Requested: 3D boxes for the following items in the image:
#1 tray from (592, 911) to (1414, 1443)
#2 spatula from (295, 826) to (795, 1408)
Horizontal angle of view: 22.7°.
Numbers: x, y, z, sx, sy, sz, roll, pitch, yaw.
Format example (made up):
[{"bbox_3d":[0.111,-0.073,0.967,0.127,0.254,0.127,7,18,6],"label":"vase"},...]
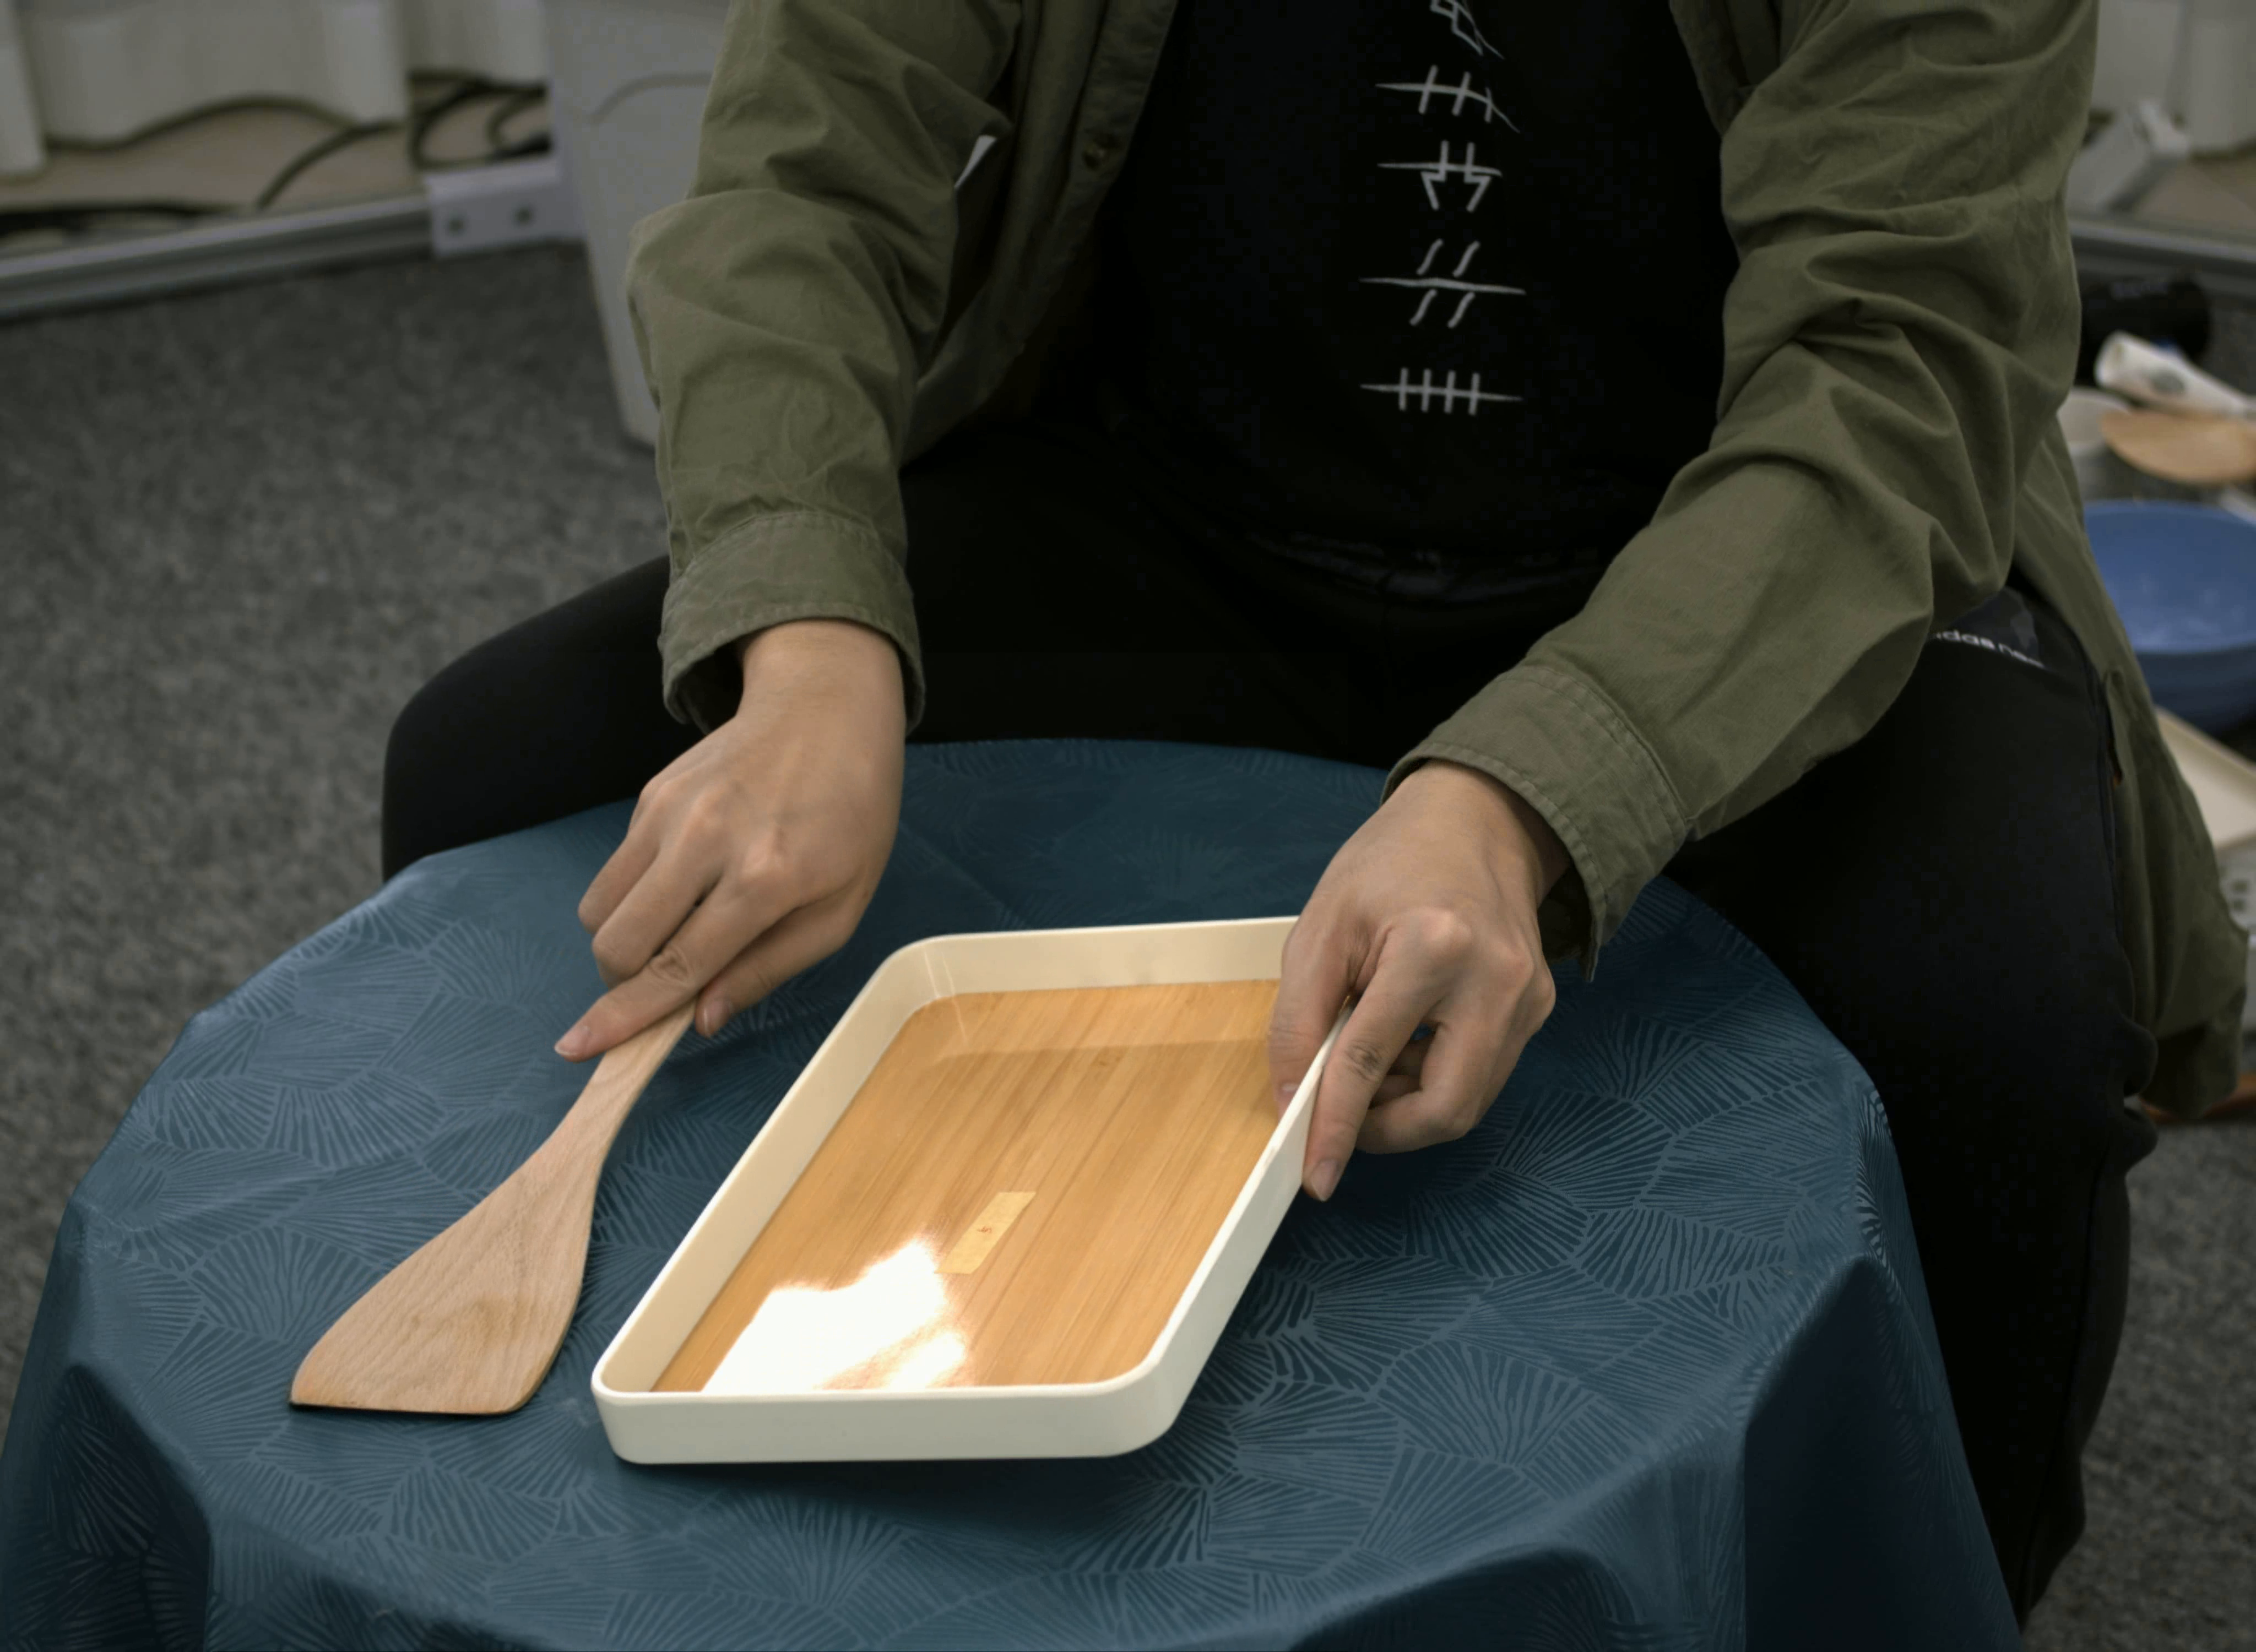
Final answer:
[{"bbox_3d":[-0.034,0.110,1.818,0.190,0.027,0.305,-3,25,22],"label":"tray"},{"bbox_3d":[-0.178,0.094,1.883,0.079,0.016,0.334,7,37,17],"label":"spatula"}]
